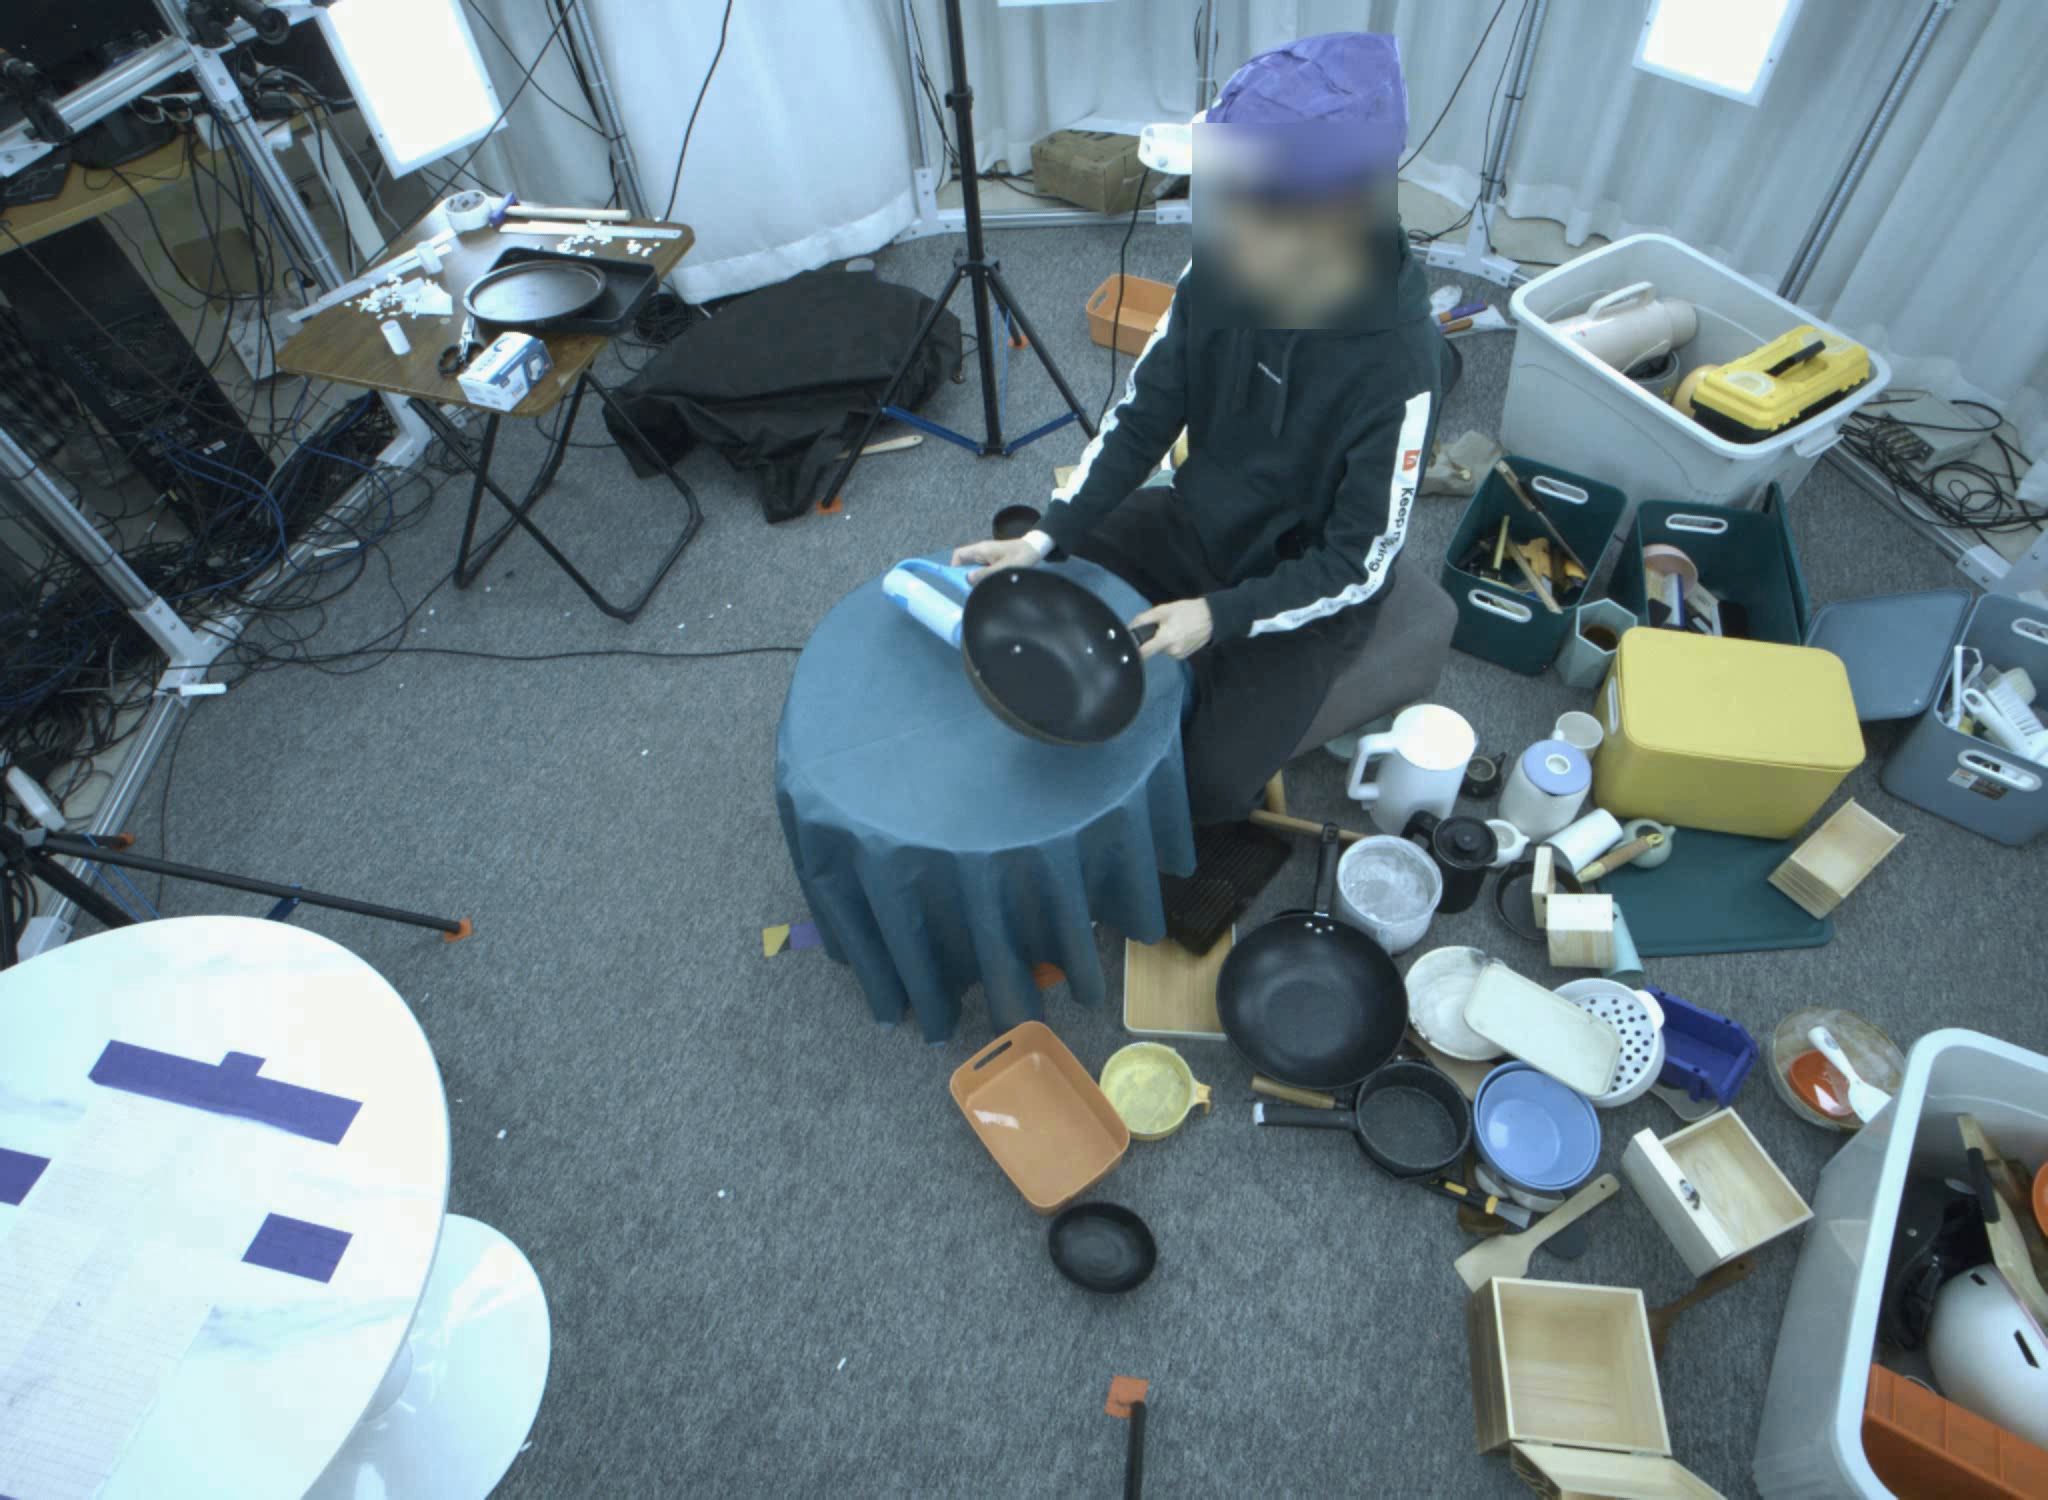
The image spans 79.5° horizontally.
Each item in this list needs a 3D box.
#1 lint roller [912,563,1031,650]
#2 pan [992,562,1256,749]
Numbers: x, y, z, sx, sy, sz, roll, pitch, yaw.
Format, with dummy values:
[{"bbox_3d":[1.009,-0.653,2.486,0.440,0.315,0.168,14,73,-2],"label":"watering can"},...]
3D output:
[{"bbox_3d":[-0.050,-0.242,1.852,0.181,0.069,0.223,-36,44,-22],"label":"lint roller"},{"bbox_3d":[0.139,-0.129,1.725,0.472,0.086,0.285,-12,71,-38],"label":"pan"}]
